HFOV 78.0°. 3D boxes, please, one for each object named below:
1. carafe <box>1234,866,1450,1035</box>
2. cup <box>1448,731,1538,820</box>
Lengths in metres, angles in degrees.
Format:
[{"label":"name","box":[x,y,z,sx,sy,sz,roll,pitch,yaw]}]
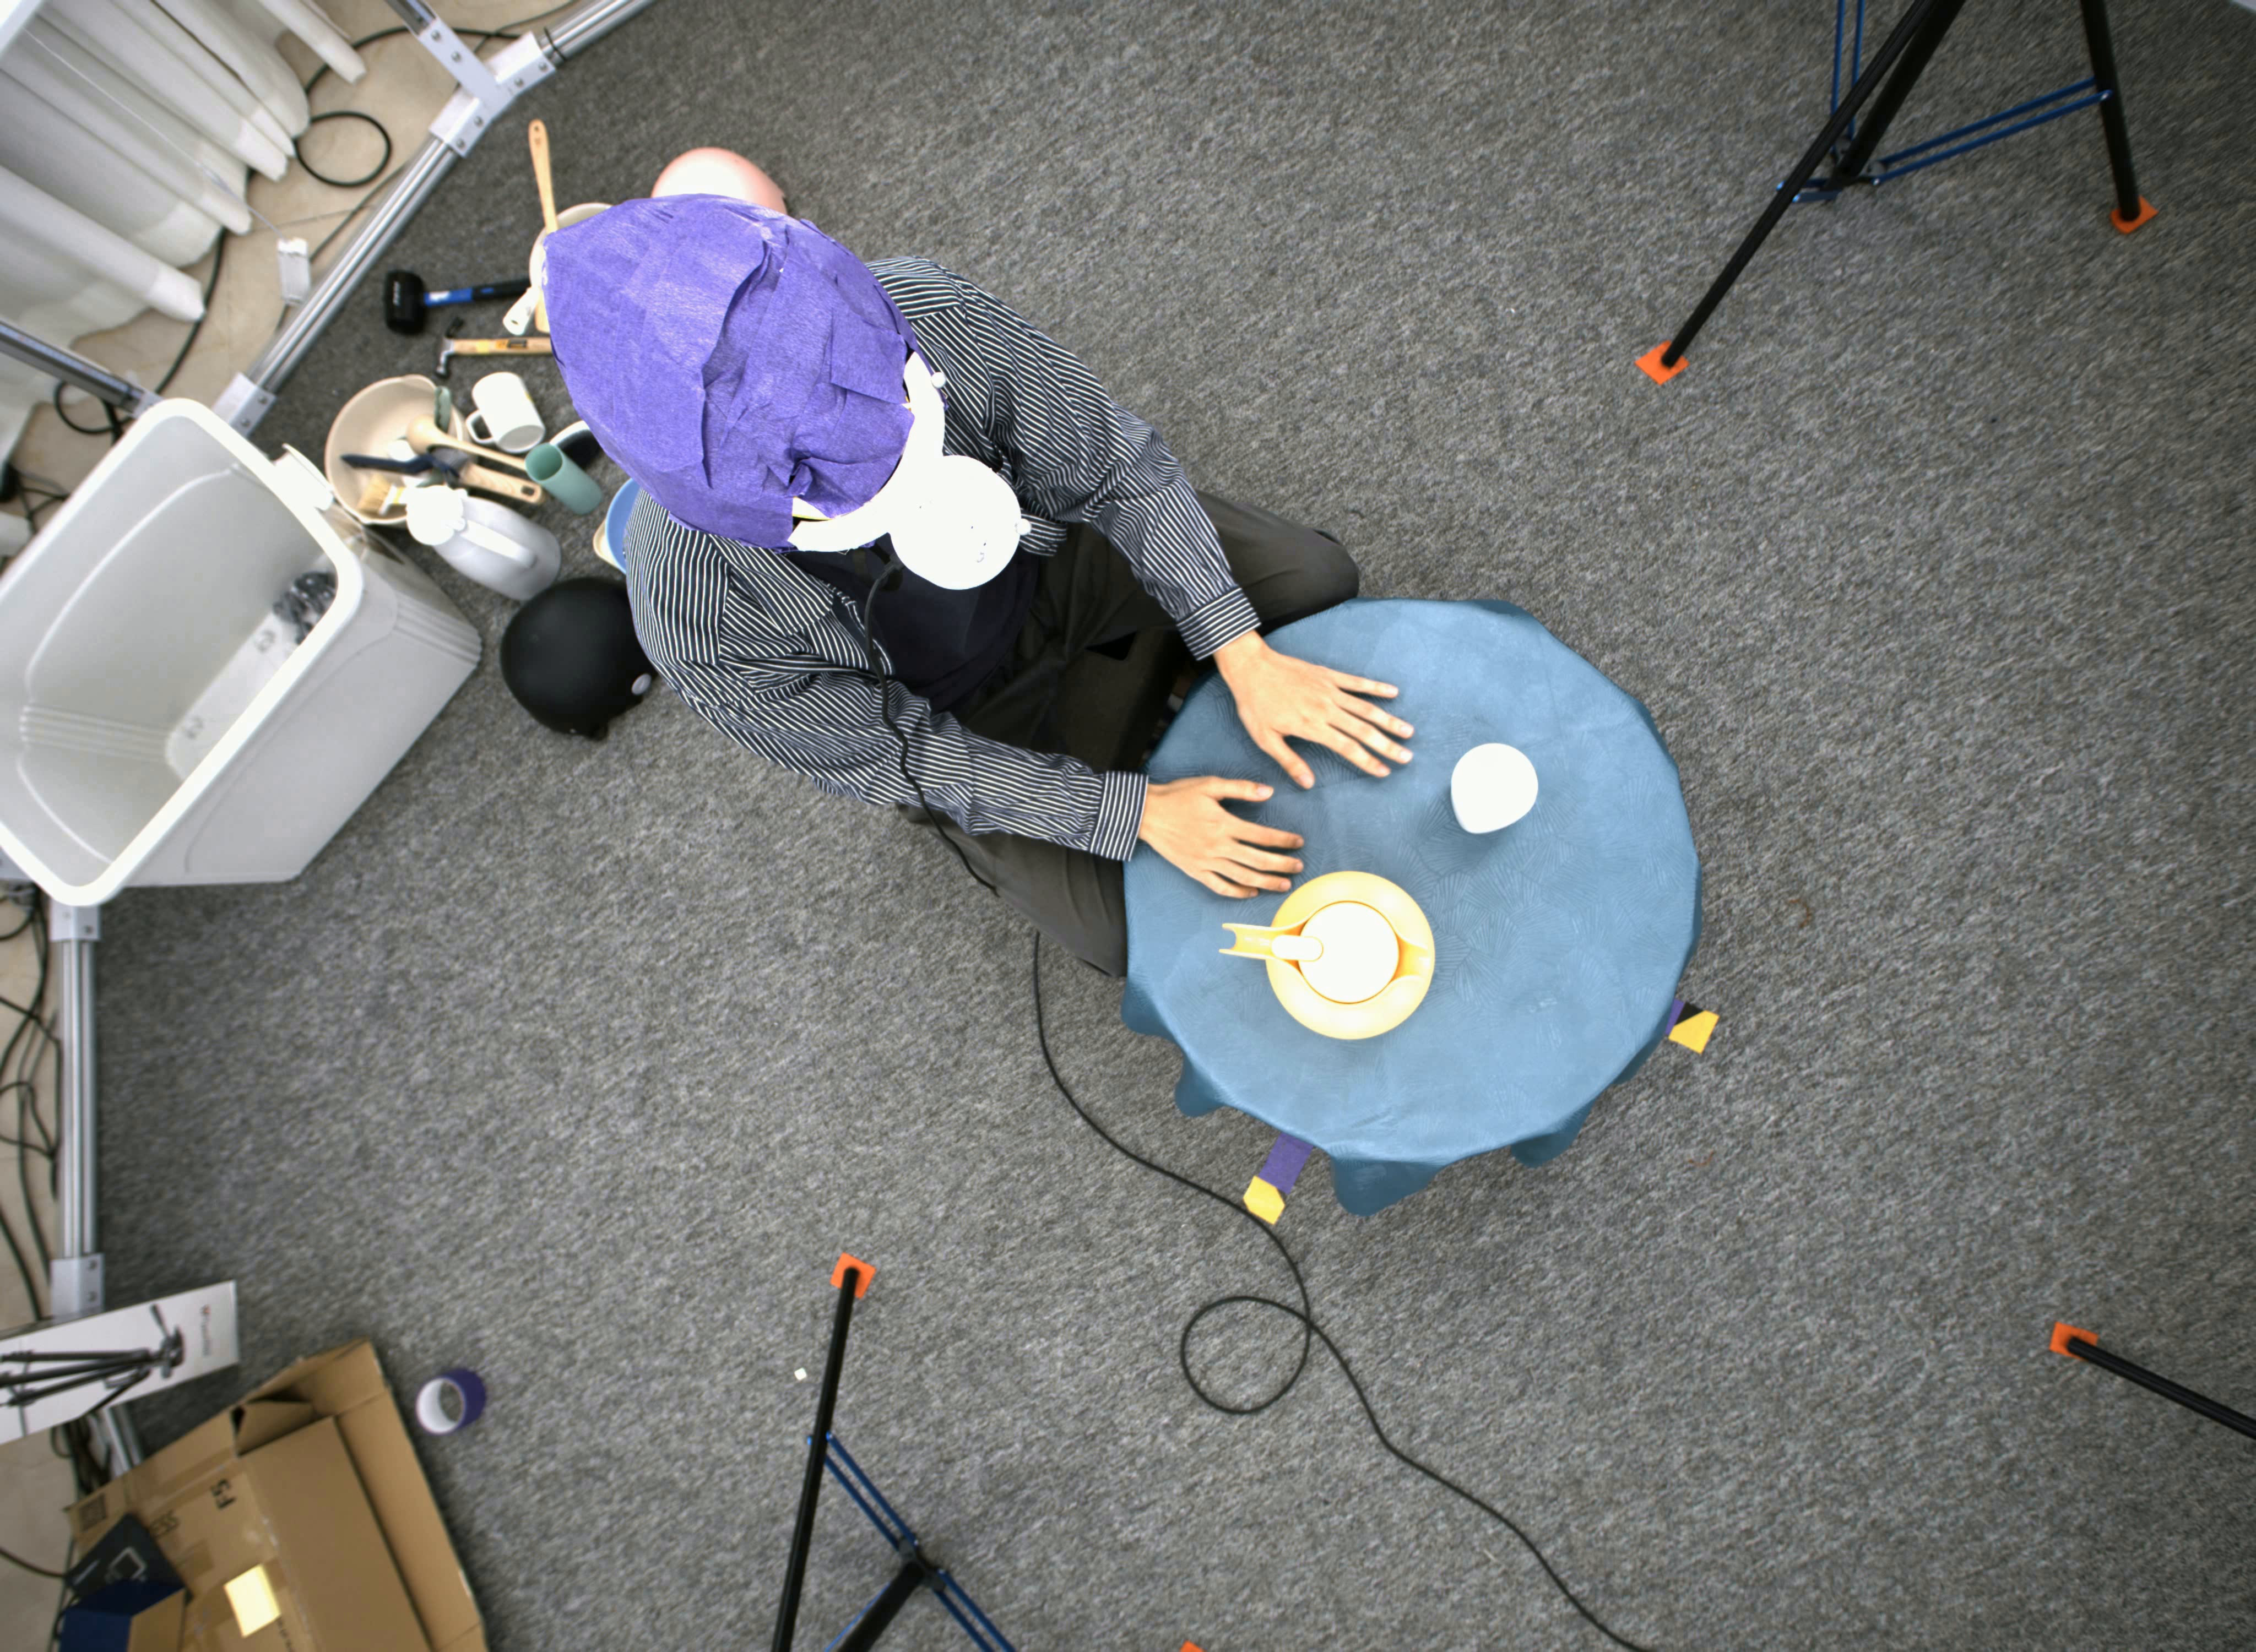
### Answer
[{"label":"carafe","box":[0.206,0.115,1.327,0.203,0.261,0.162,4,85,10]},{"label":"cup","box":[0.360,-0.048,1.371,0.082,0.125,0.081,-1,86,9]}]
